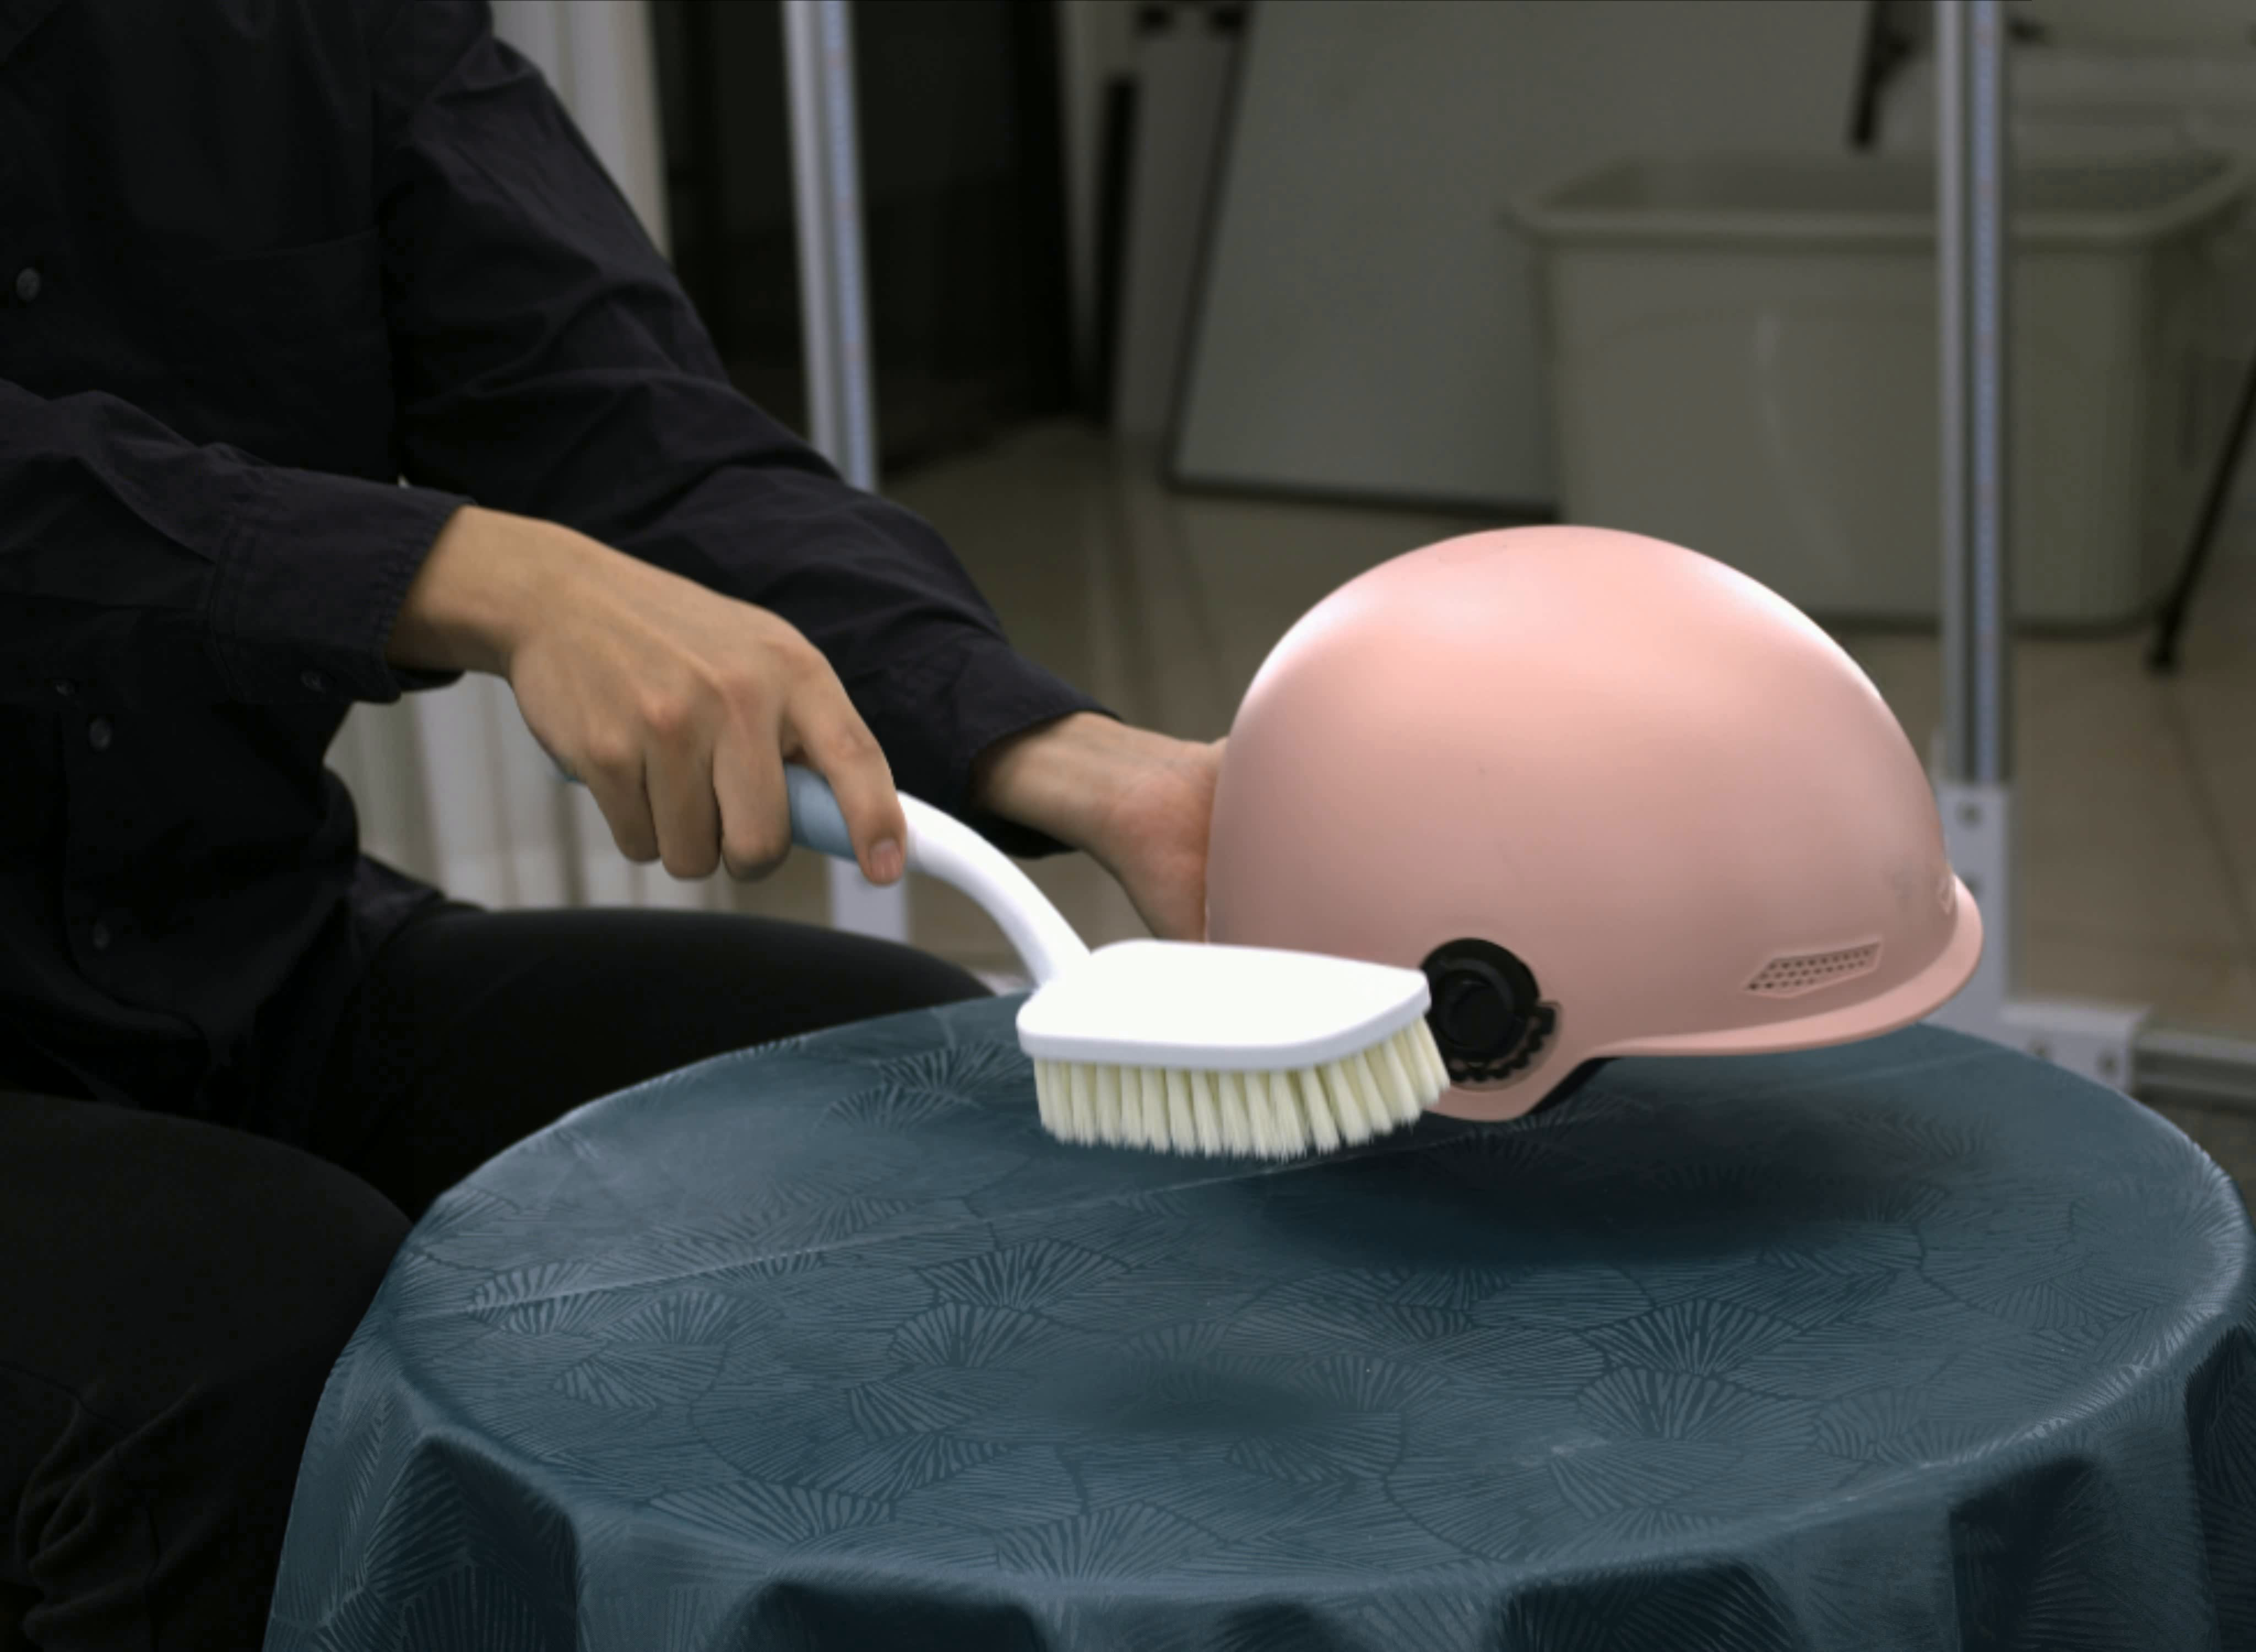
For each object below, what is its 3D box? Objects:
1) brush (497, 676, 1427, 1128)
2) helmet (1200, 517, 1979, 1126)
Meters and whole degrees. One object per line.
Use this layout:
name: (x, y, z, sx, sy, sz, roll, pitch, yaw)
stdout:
brush: (-0.055, 0.034, 1.636, 0.326, 0.085, 0.082, 16, -8, 28)
helmet: (0.144, -0.015, 1.755, 0.268, 0.160, 0.230, 7, 23, 36)
